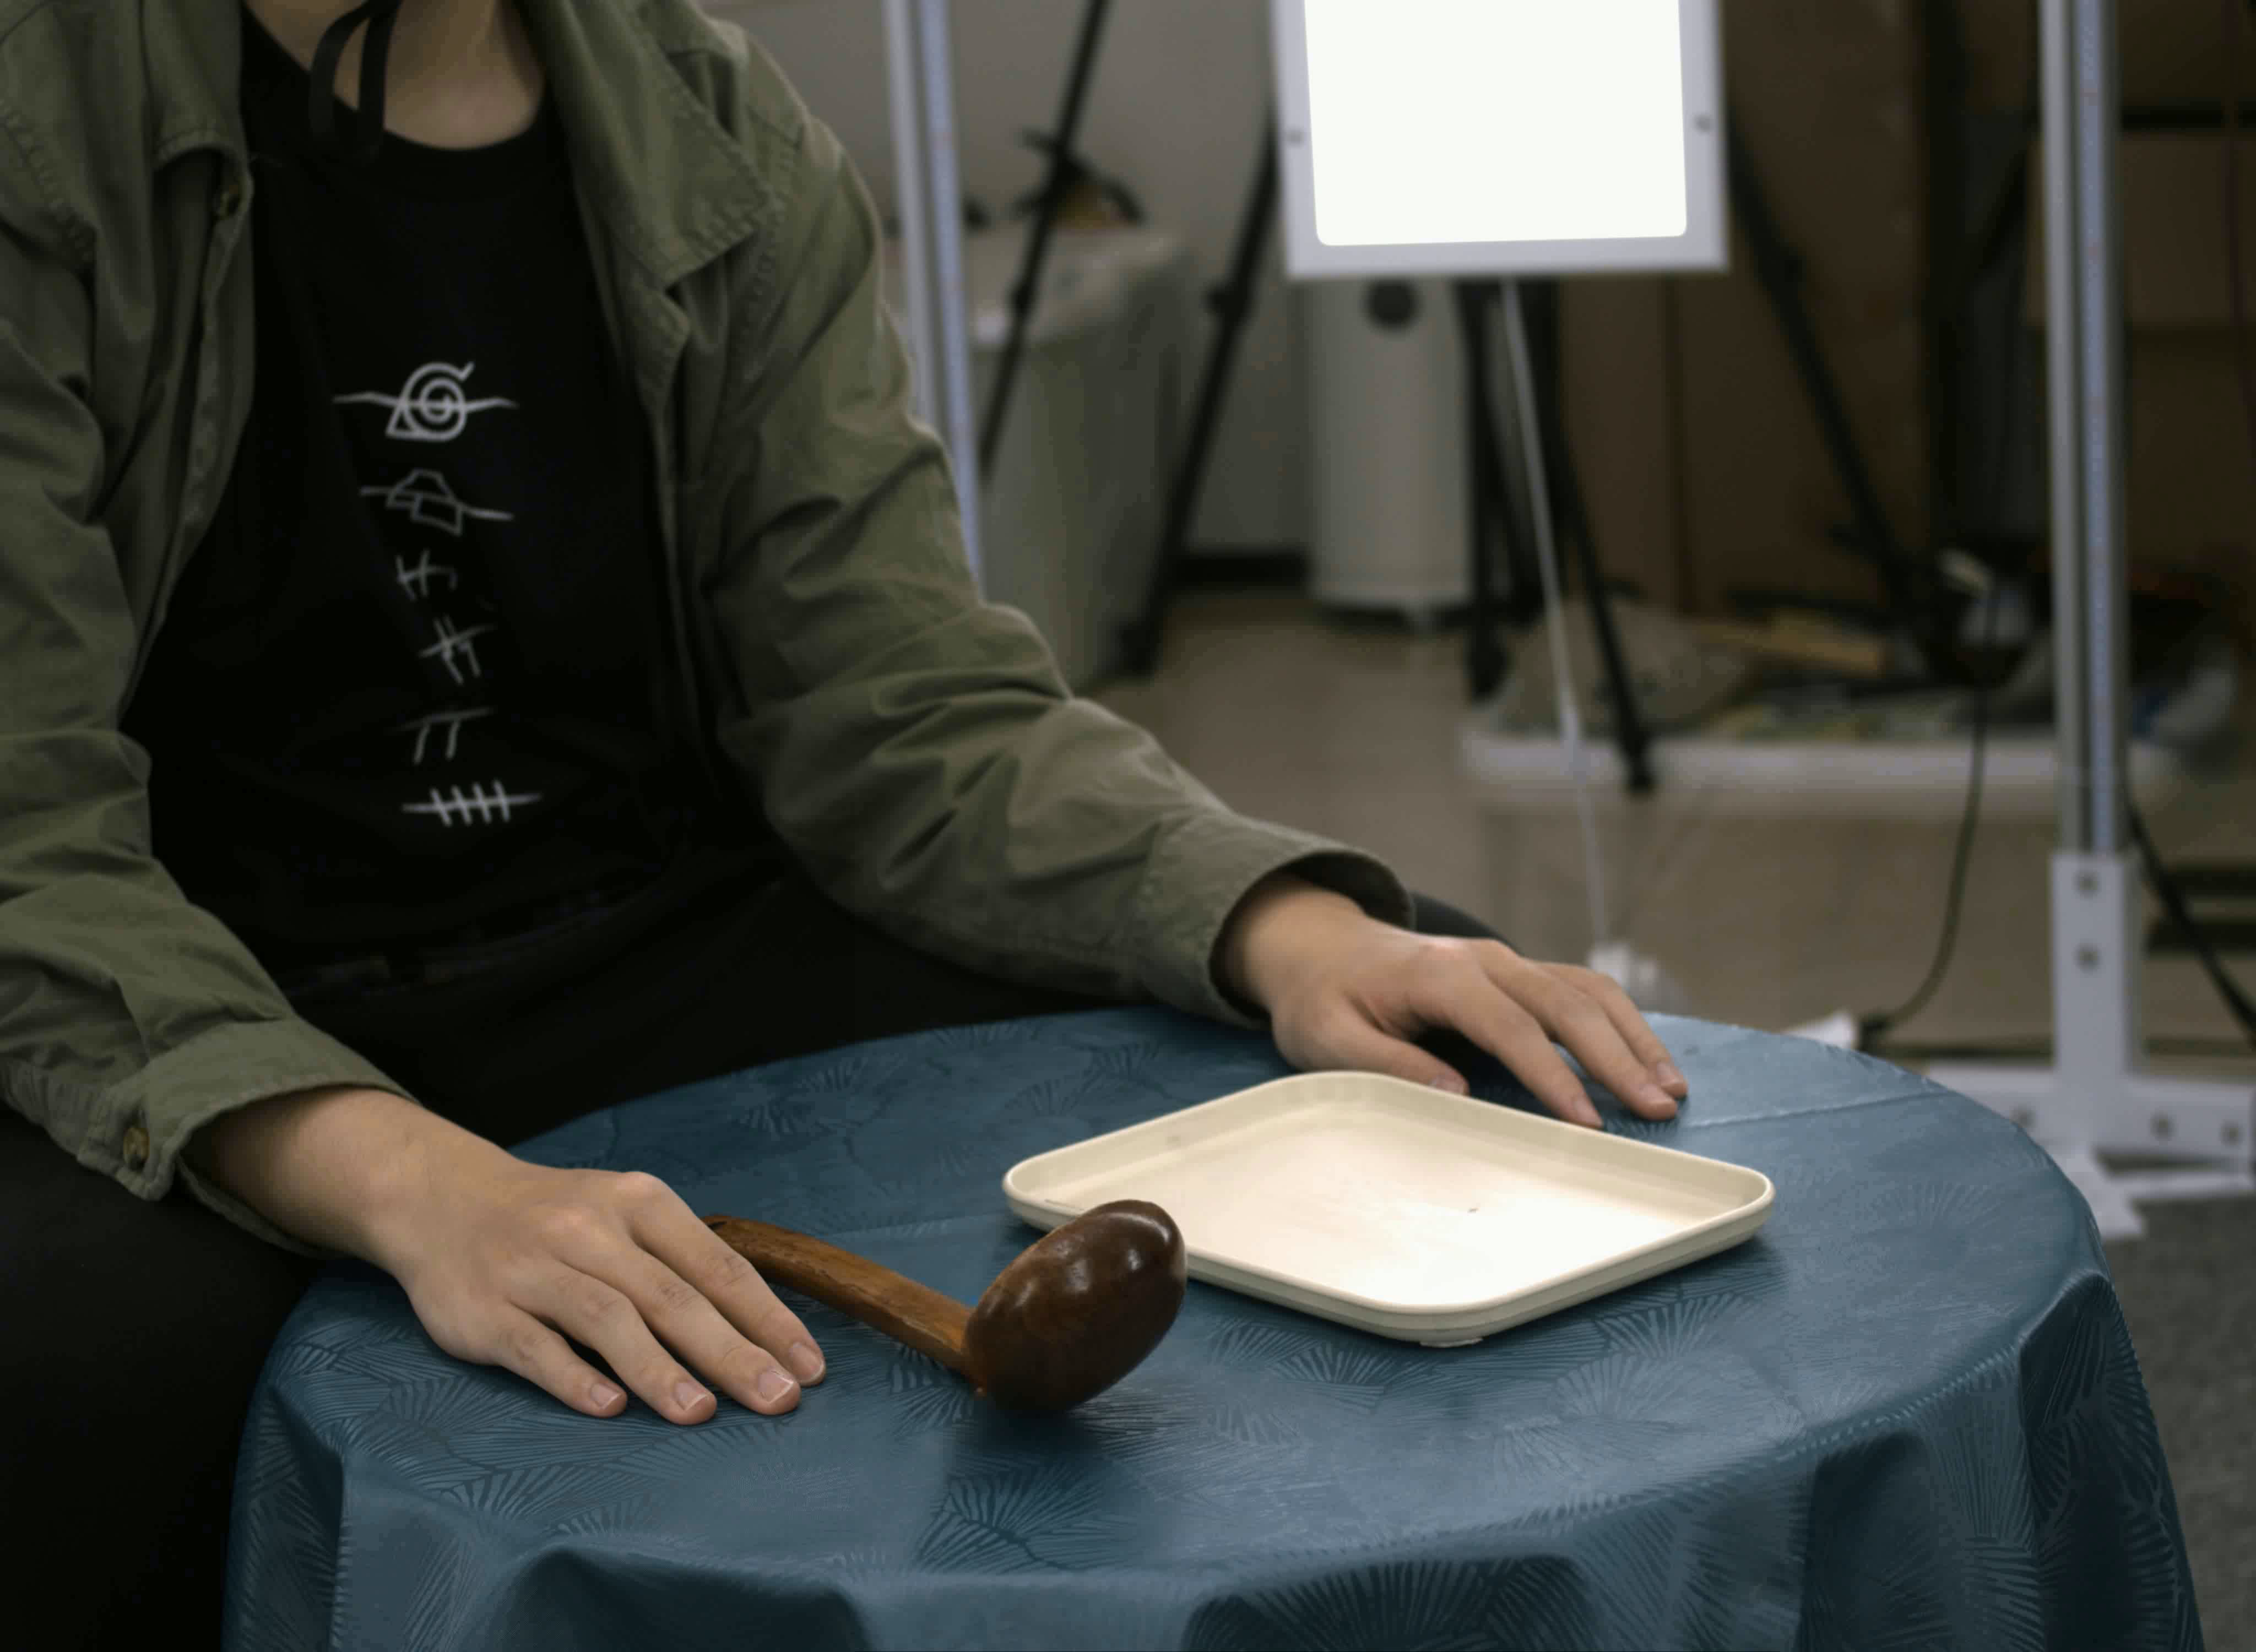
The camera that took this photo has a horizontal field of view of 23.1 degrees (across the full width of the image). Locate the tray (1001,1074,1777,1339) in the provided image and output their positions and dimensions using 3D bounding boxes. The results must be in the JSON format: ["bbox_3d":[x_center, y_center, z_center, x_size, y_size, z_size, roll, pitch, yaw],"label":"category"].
[{"bbox_3d":[0.085,0.125,1.829,0.167,0.017,0.245,-15,16,-36],"label":"tray"}]

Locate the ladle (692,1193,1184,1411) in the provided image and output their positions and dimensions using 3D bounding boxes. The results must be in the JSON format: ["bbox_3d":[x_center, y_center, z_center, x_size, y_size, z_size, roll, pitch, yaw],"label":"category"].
[{"bbox_3d":[-0.075,0.130,1.748,0.080,0.077,0.279,-18,17,-29],"label":"ladle"}]
